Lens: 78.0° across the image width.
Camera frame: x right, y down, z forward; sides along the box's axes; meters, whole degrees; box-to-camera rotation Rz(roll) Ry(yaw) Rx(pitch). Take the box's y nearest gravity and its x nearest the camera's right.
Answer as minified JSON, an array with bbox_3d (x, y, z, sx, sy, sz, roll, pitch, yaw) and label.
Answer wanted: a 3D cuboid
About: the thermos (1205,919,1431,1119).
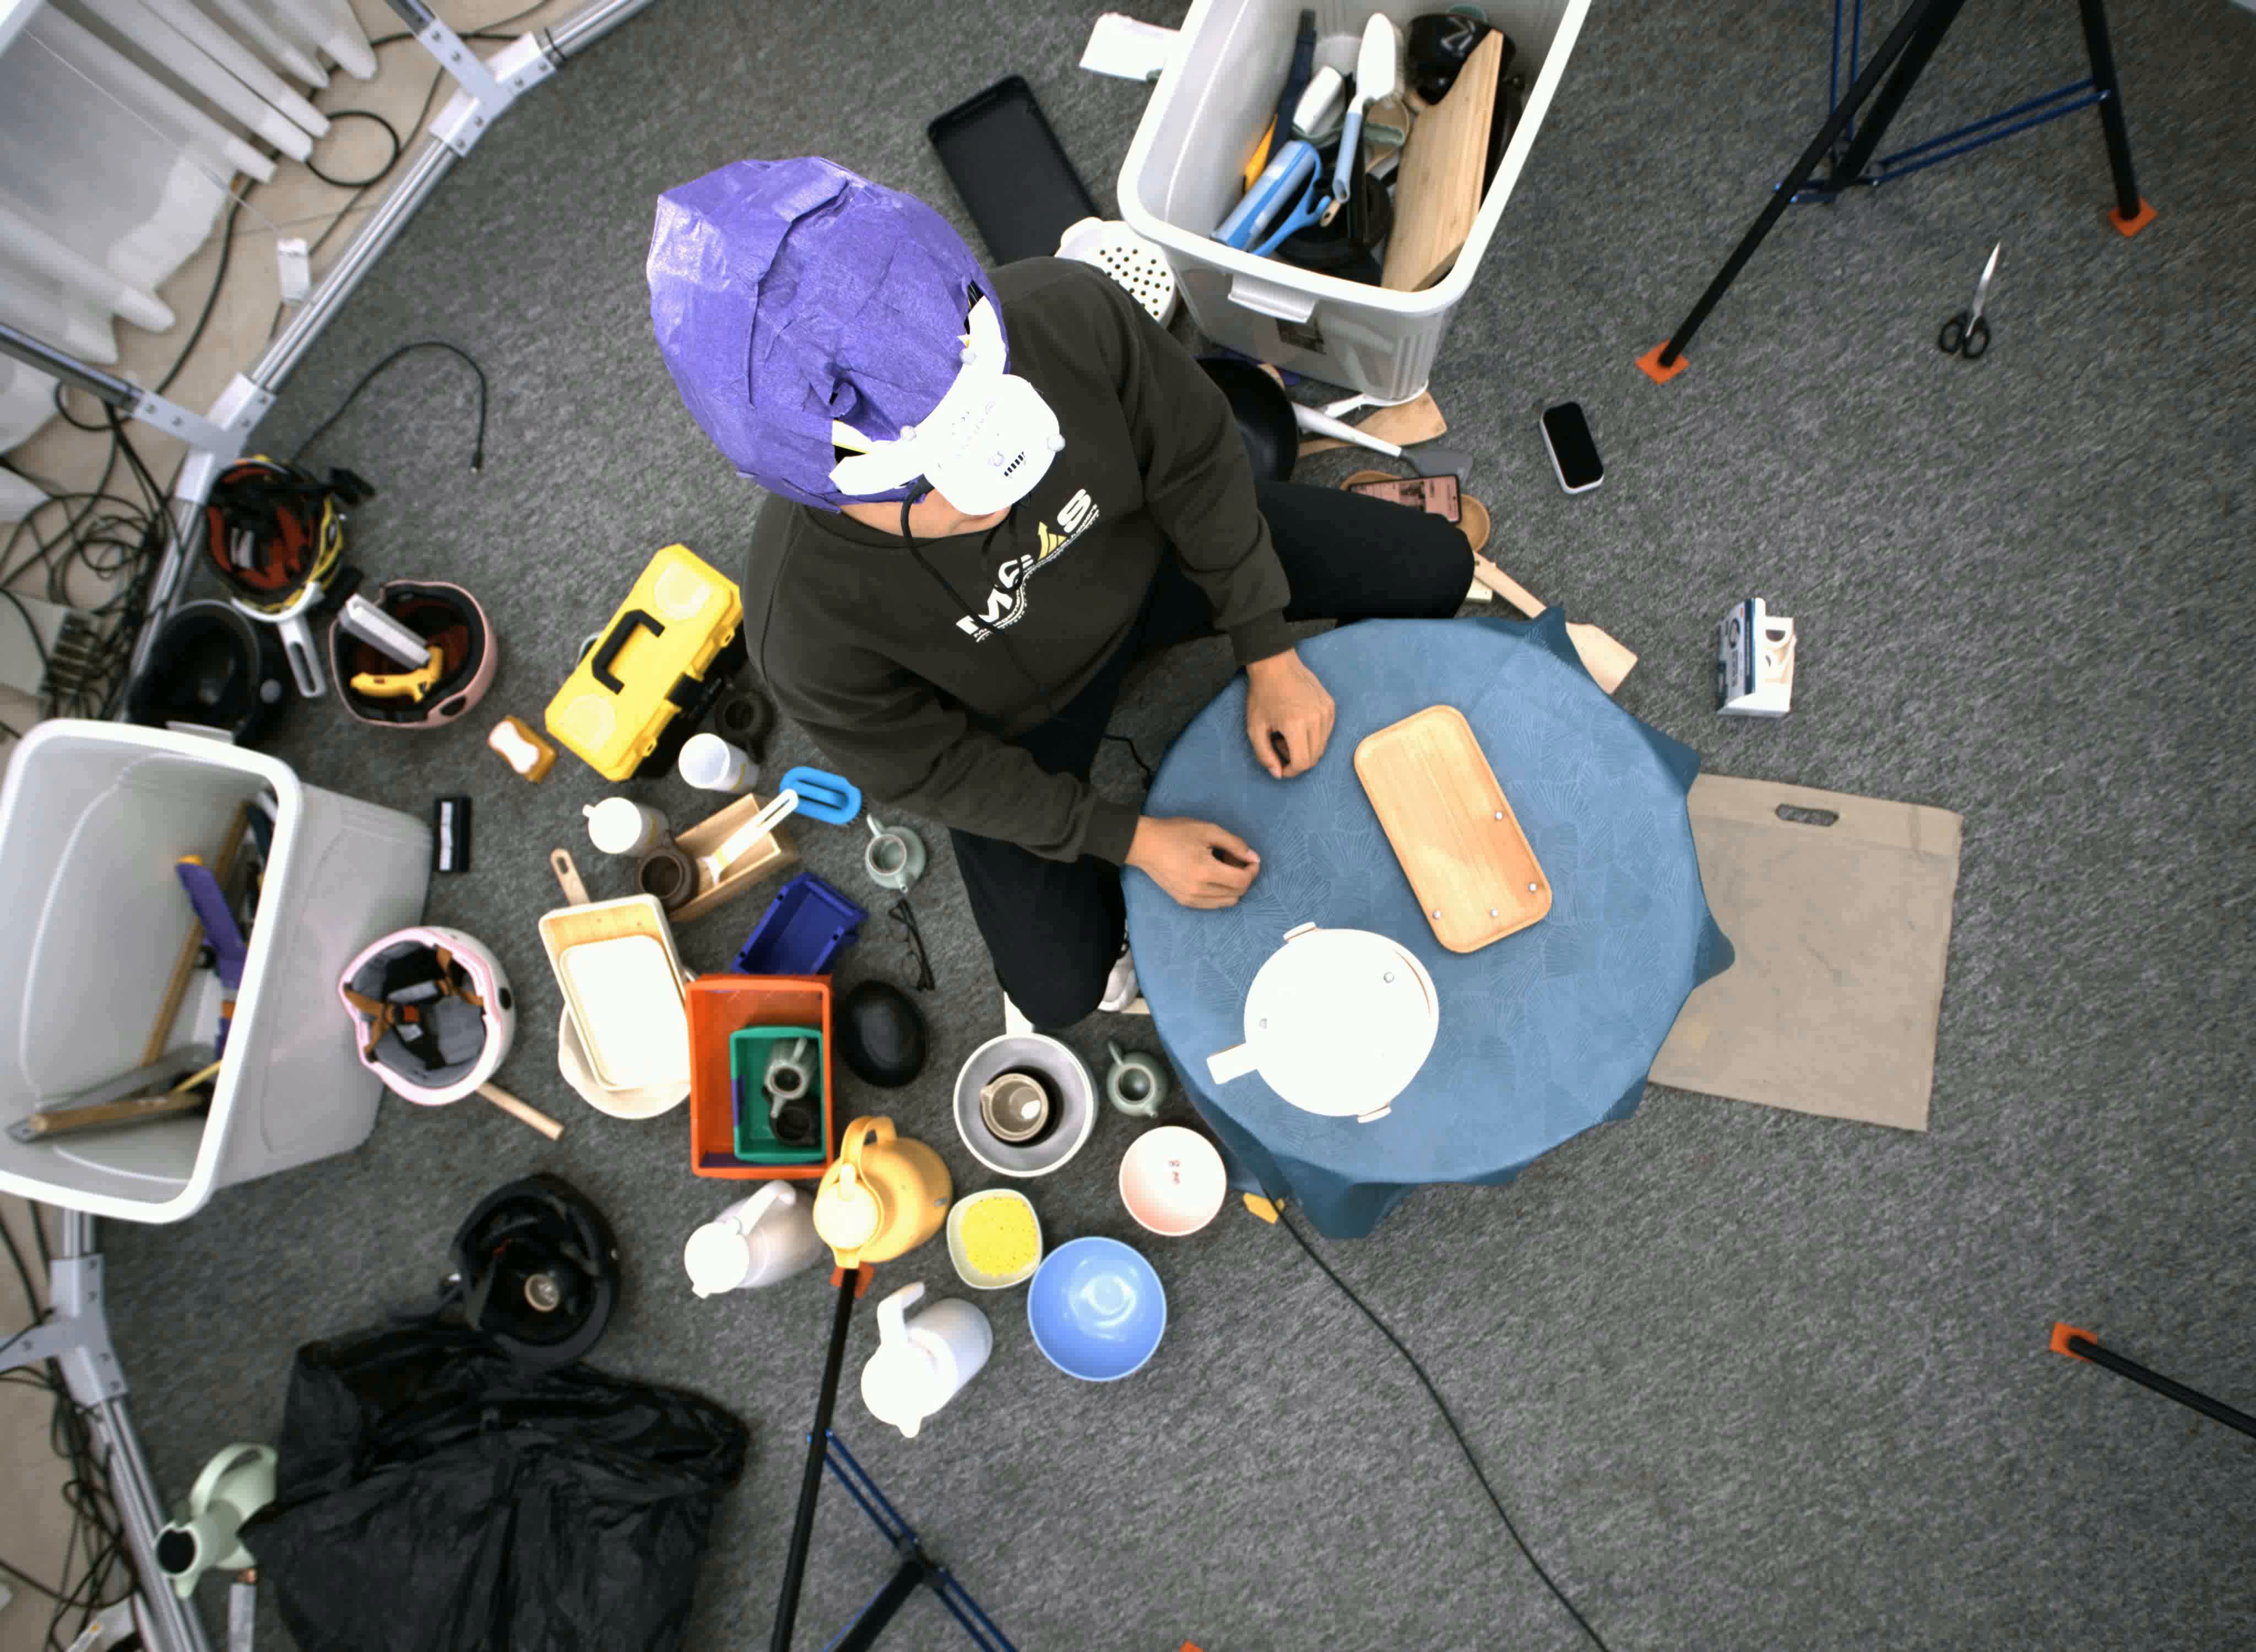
[{"bbox_3d":[0.177,0.178,1.269,0.208,0.407,0.174,-23,82,7],"label":"thermos"}]

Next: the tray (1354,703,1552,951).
[{"bbox_3d":[0.339,-0.001,1.443,0.131,0.023,0.249,-24,82,6],"label":"tray"}]
